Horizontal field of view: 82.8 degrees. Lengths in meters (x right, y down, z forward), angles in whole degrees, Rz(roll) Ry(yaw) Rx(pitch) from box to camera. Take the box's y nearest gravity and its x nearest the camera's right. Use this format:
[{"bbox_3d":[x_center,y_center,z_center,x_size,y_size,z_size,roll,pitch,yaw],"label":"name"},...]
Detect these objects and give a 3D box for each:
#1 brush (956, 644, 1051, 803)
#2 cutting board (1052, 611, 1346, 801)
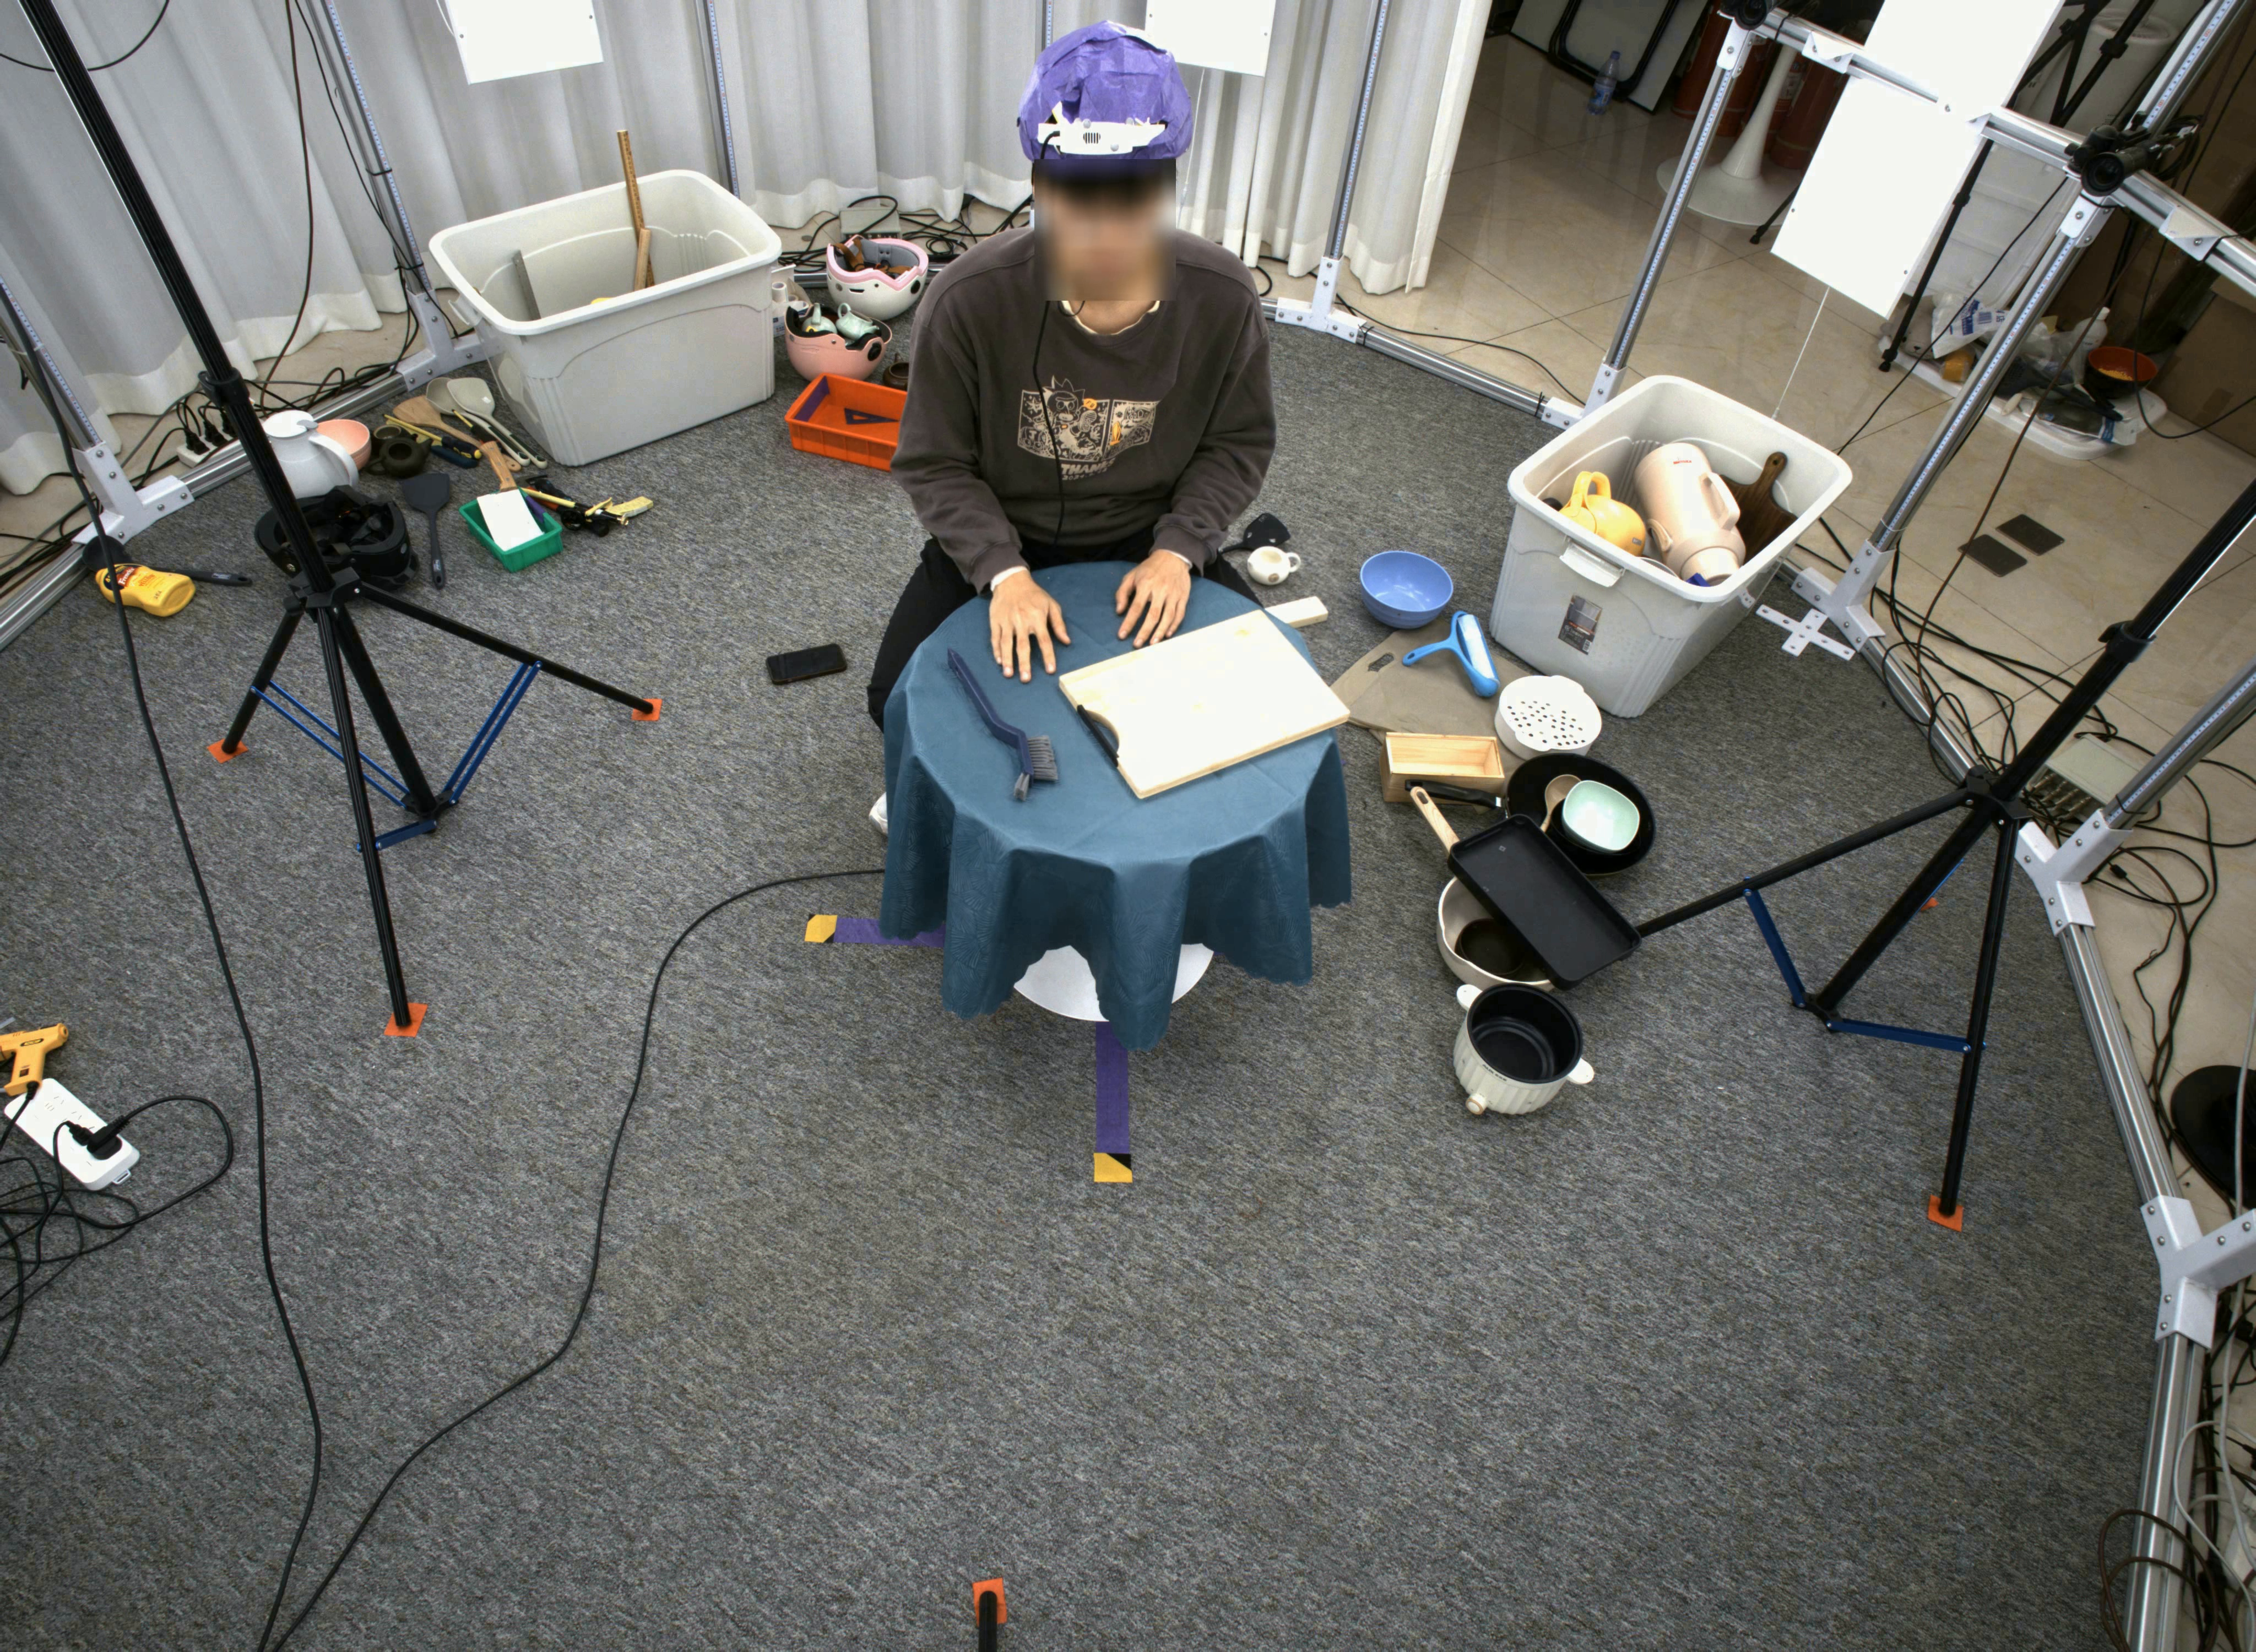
[{"bbox_3d":[-0.191,-0.146,1.761,0.096,0.033,0.278,-26,56,-24],"label":"brush"},{"bbox_3d":[0.102,-0.178,1.816,0.349,0.023,0.256,-21,53,-21],"label":"cutting board"}]
